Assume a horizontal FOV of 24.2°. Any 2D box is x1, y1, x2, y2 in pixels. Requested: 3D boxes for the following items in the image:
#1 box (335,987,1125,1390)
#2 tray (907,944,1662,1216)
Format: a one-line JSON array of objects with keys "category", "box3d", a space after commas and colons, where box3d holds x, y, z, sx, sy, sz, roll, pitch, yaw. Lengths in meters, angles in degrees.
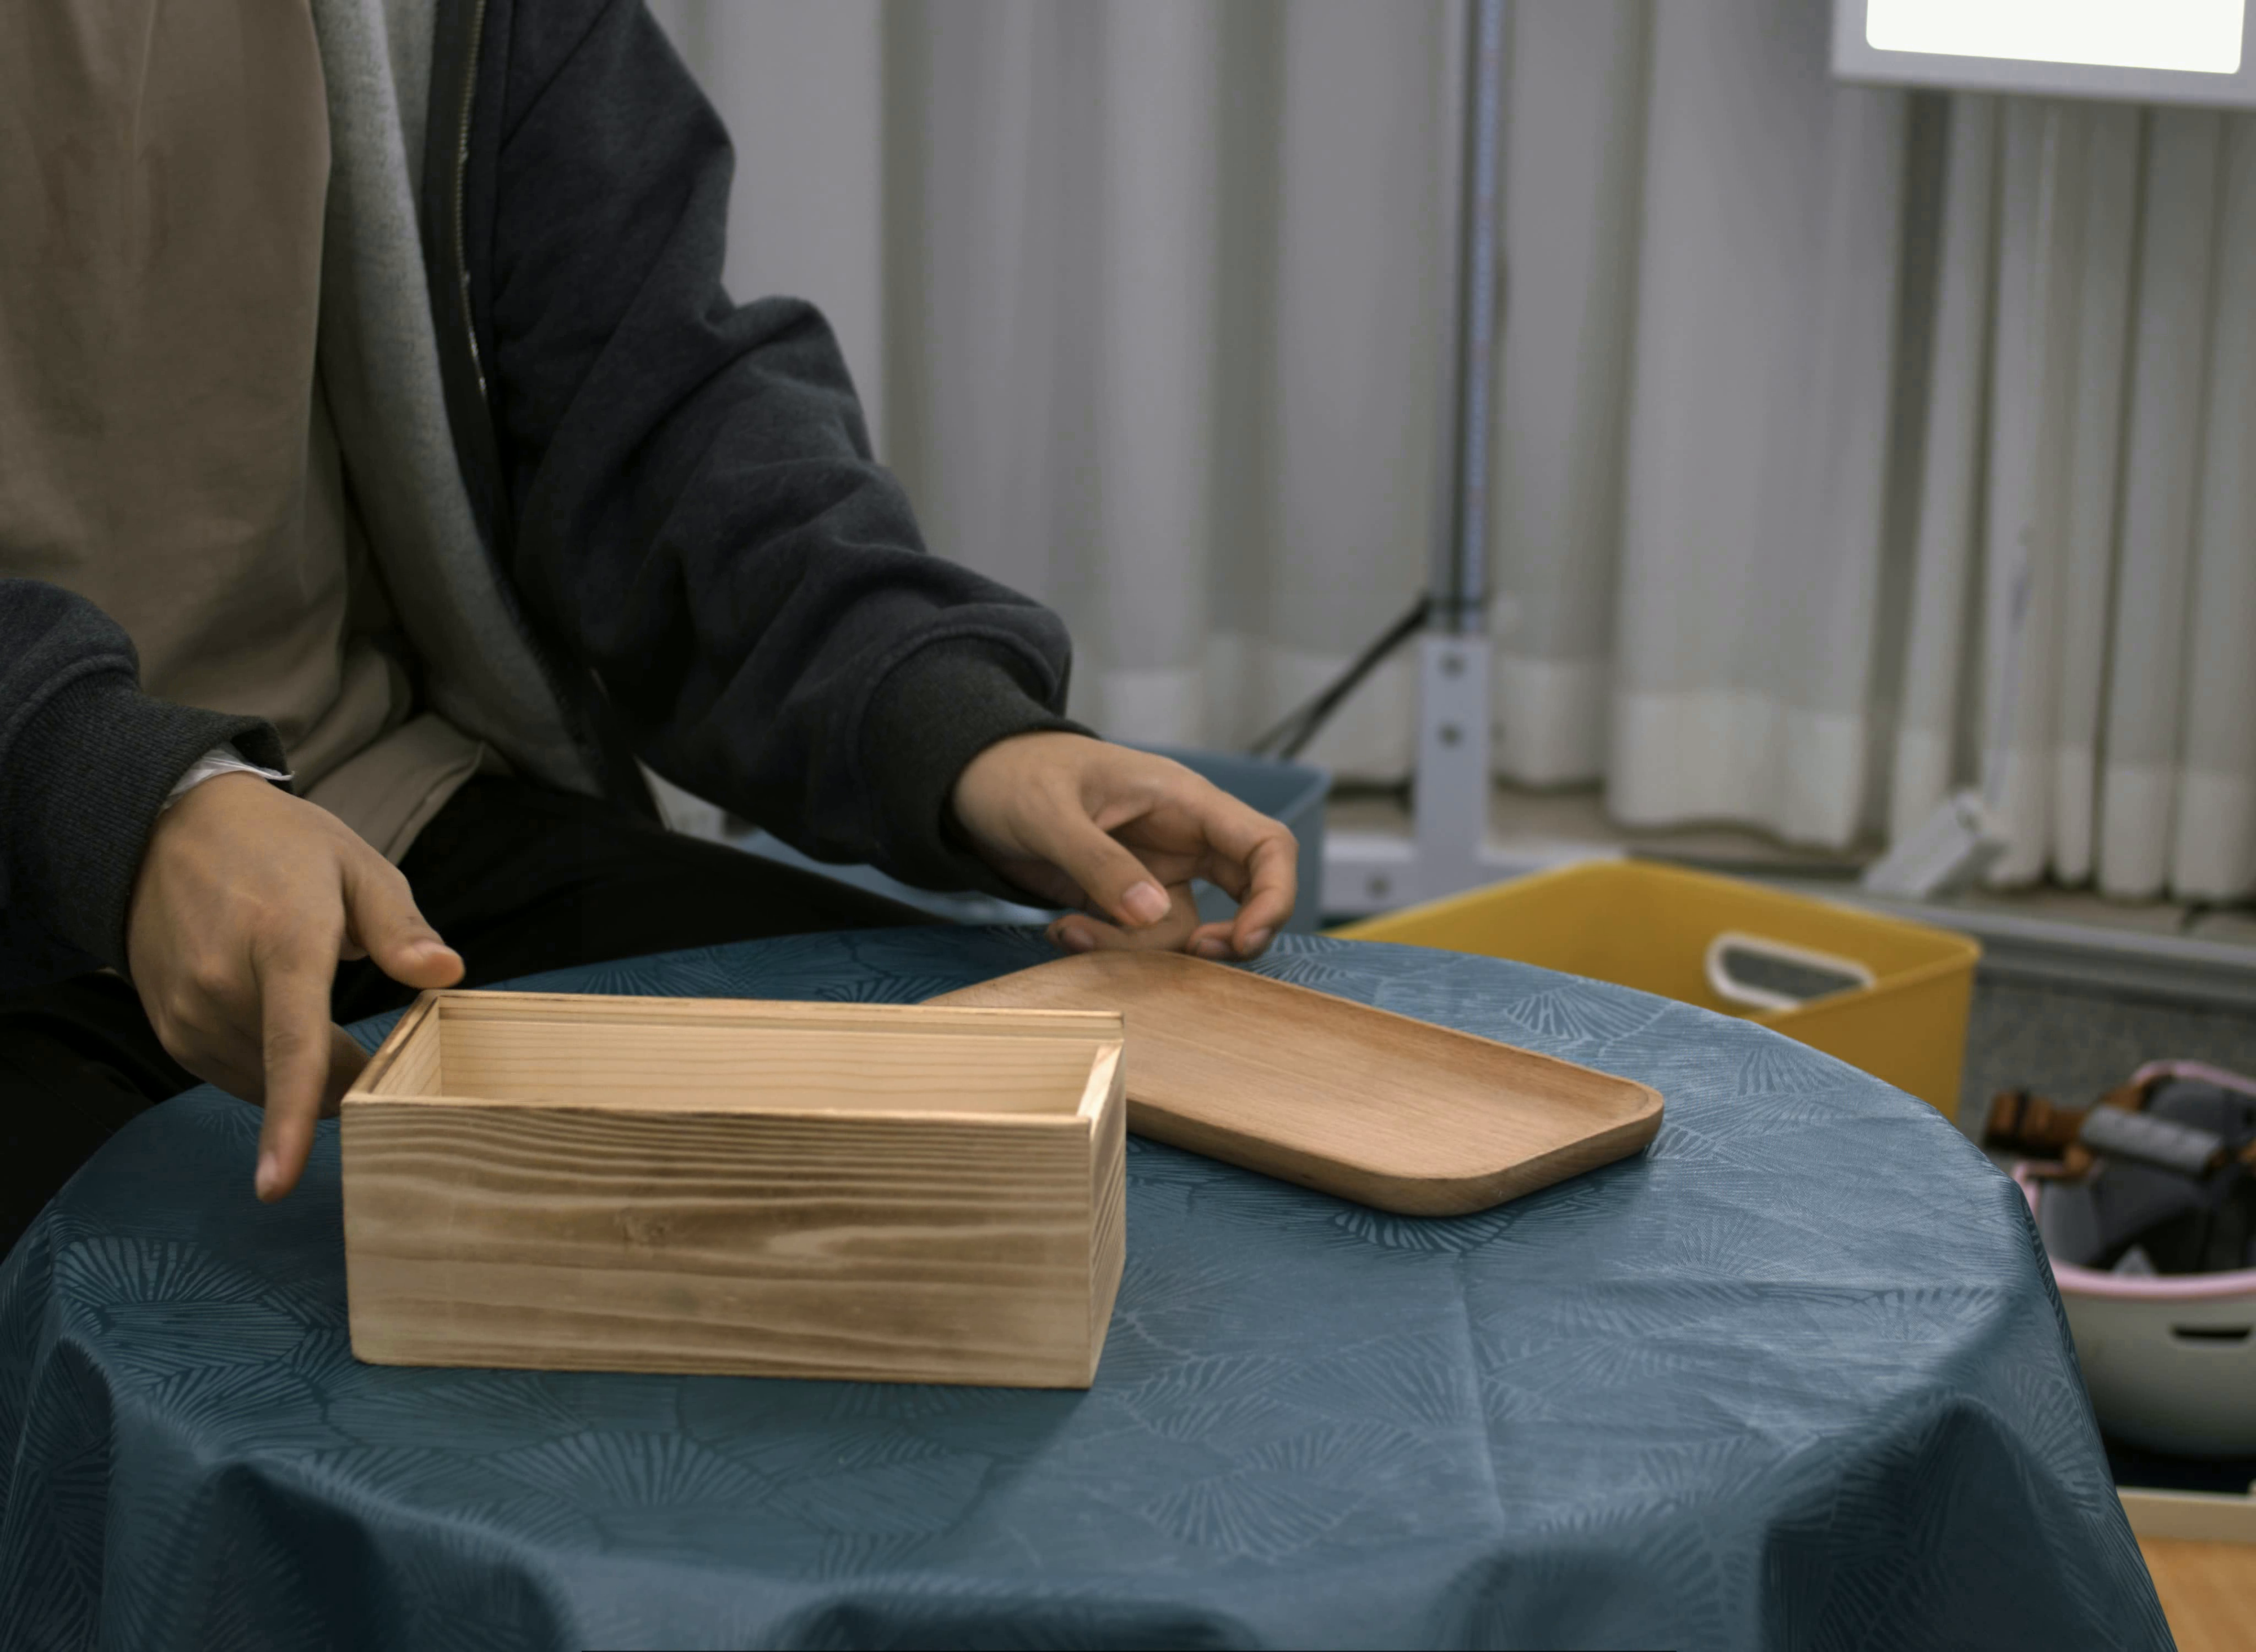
[{"category": "box", "box3d": [-0.110, 0.102, 1.507, 0.210, 0.081, 0.107, 2, 16, 4]}, {"category": "tray", "box3d": [0.047, 0.080, 1.707, 0.247, 0.023, 0.131, 14, 18, 42]}]
